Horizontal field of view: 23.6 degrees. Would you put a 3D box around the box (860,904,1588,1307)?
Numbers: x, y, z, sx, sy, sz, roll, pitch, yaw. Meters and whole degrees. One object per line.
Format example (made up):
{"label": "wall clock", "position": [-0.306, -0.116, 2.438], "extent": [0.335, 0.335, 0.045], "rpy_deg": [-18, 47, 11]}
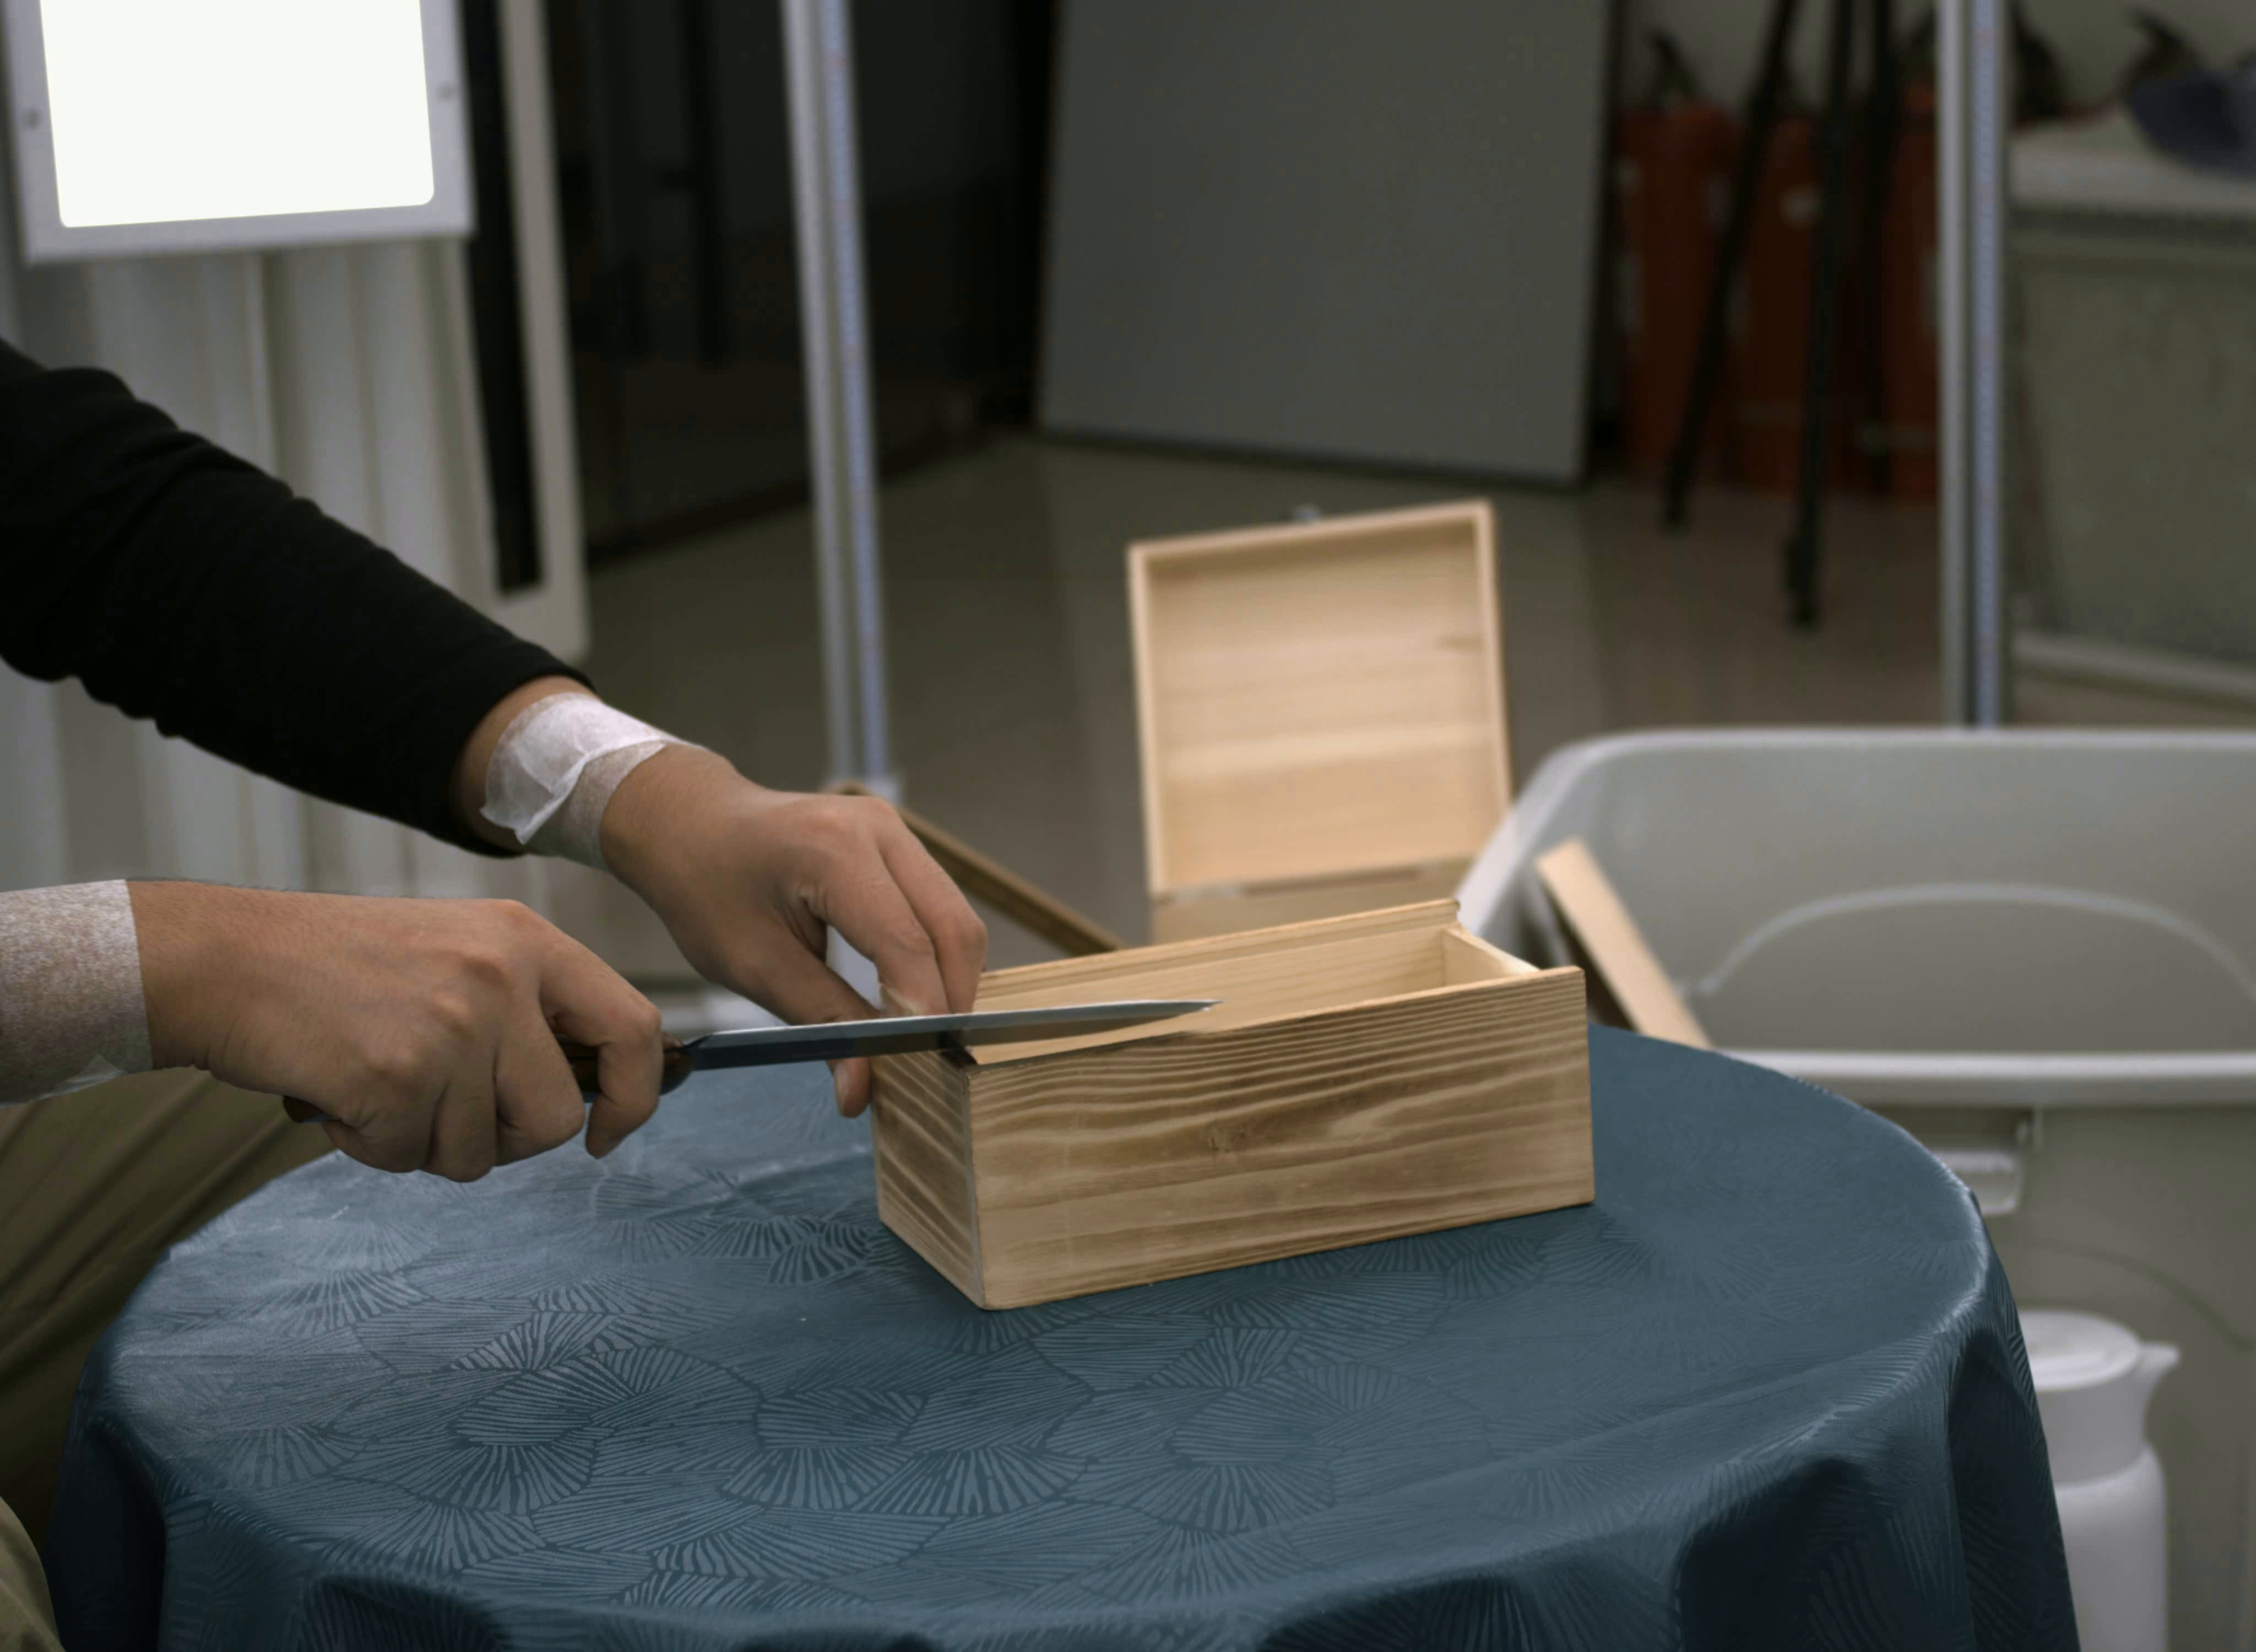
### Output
{"label": "box", "position": [0.031, 0.087, 1.731], "extent": [0.207, 0.081, 0.108], "rpy_deg": [-8, 13, -18]}

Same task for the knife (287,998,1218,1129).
{"label": "knife", "position": [-0.109, 0.067, 1.631], "extent": [0.283, 0.020, 0.050], "rpy_deg": [-5, -15, -14]}
